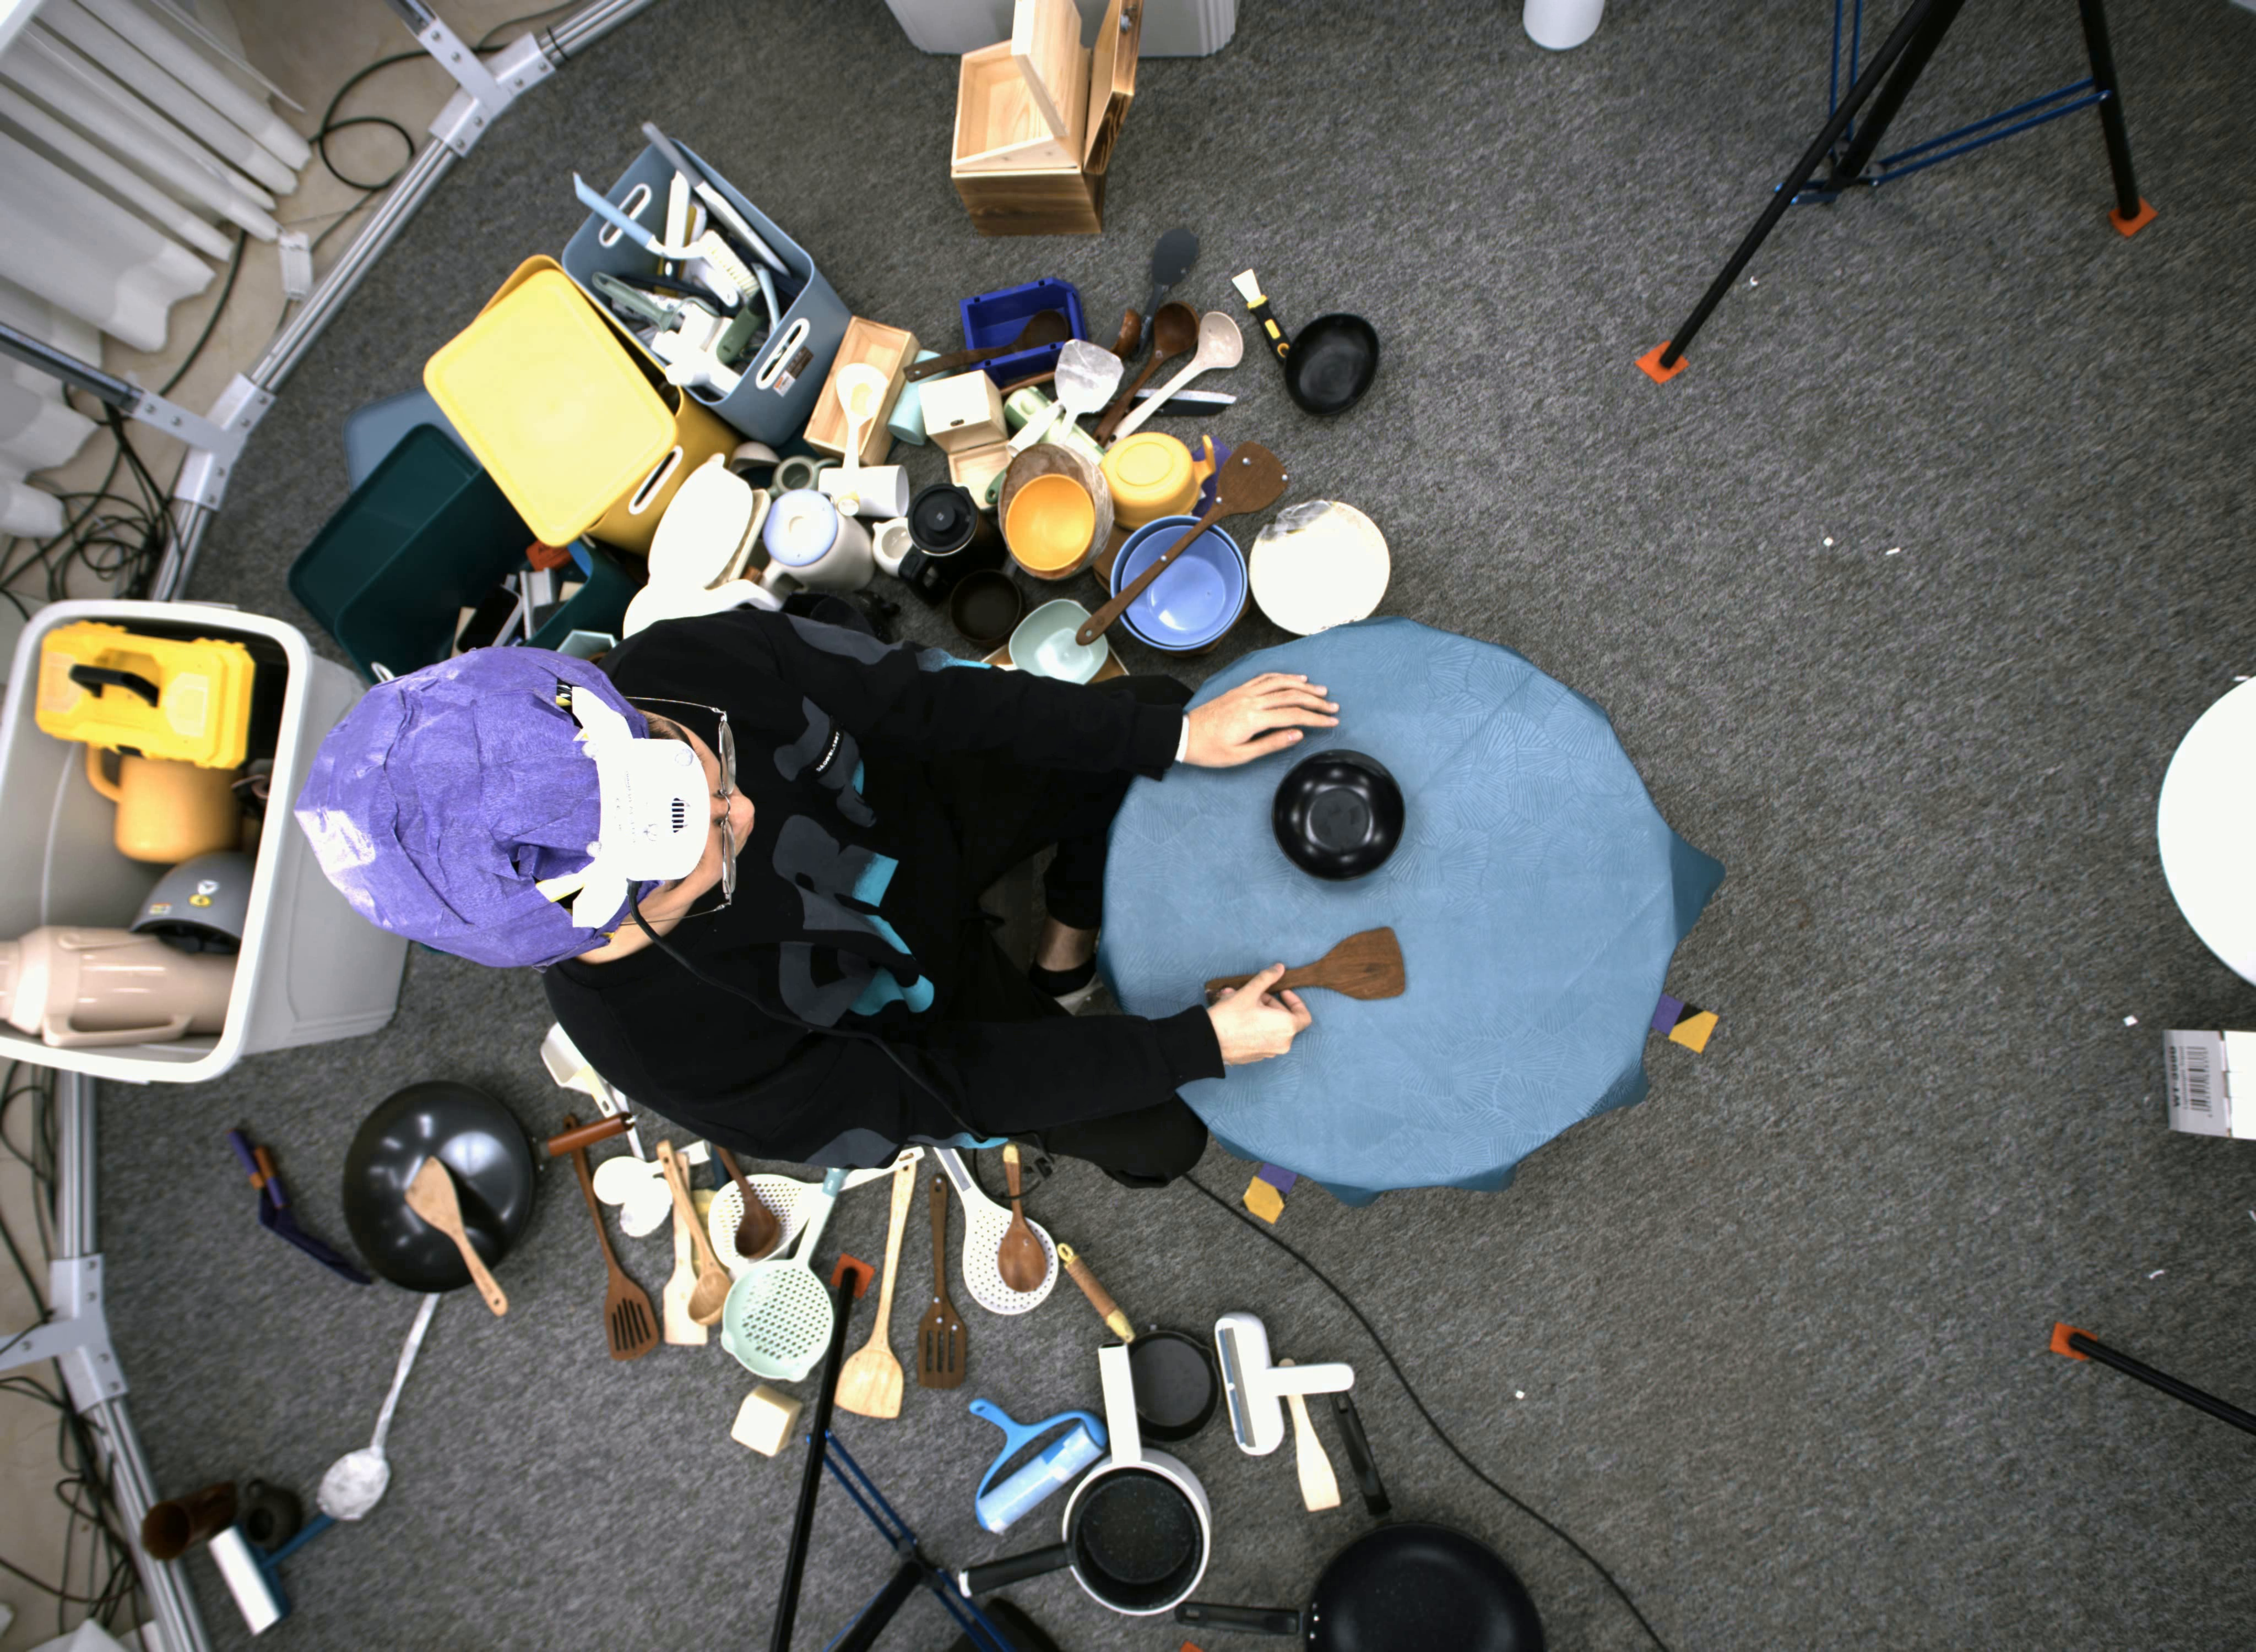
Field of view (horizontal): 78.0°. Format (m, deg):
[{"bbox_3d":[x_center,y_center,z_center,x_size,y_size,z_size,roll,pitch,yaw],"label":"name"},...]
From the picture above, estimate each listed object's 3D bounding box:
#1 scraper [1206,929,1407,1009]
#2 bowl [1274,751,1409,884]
[{"bbox_3d":[0.187,0.161,1.467,0.212,0.011,0.075,-11,83,7],"label":"scraper"},{"bbox_3d":[0.225,-0.009,1.455,0.140,0.049,0.139,0,89,11],"label":"bowl"}]
